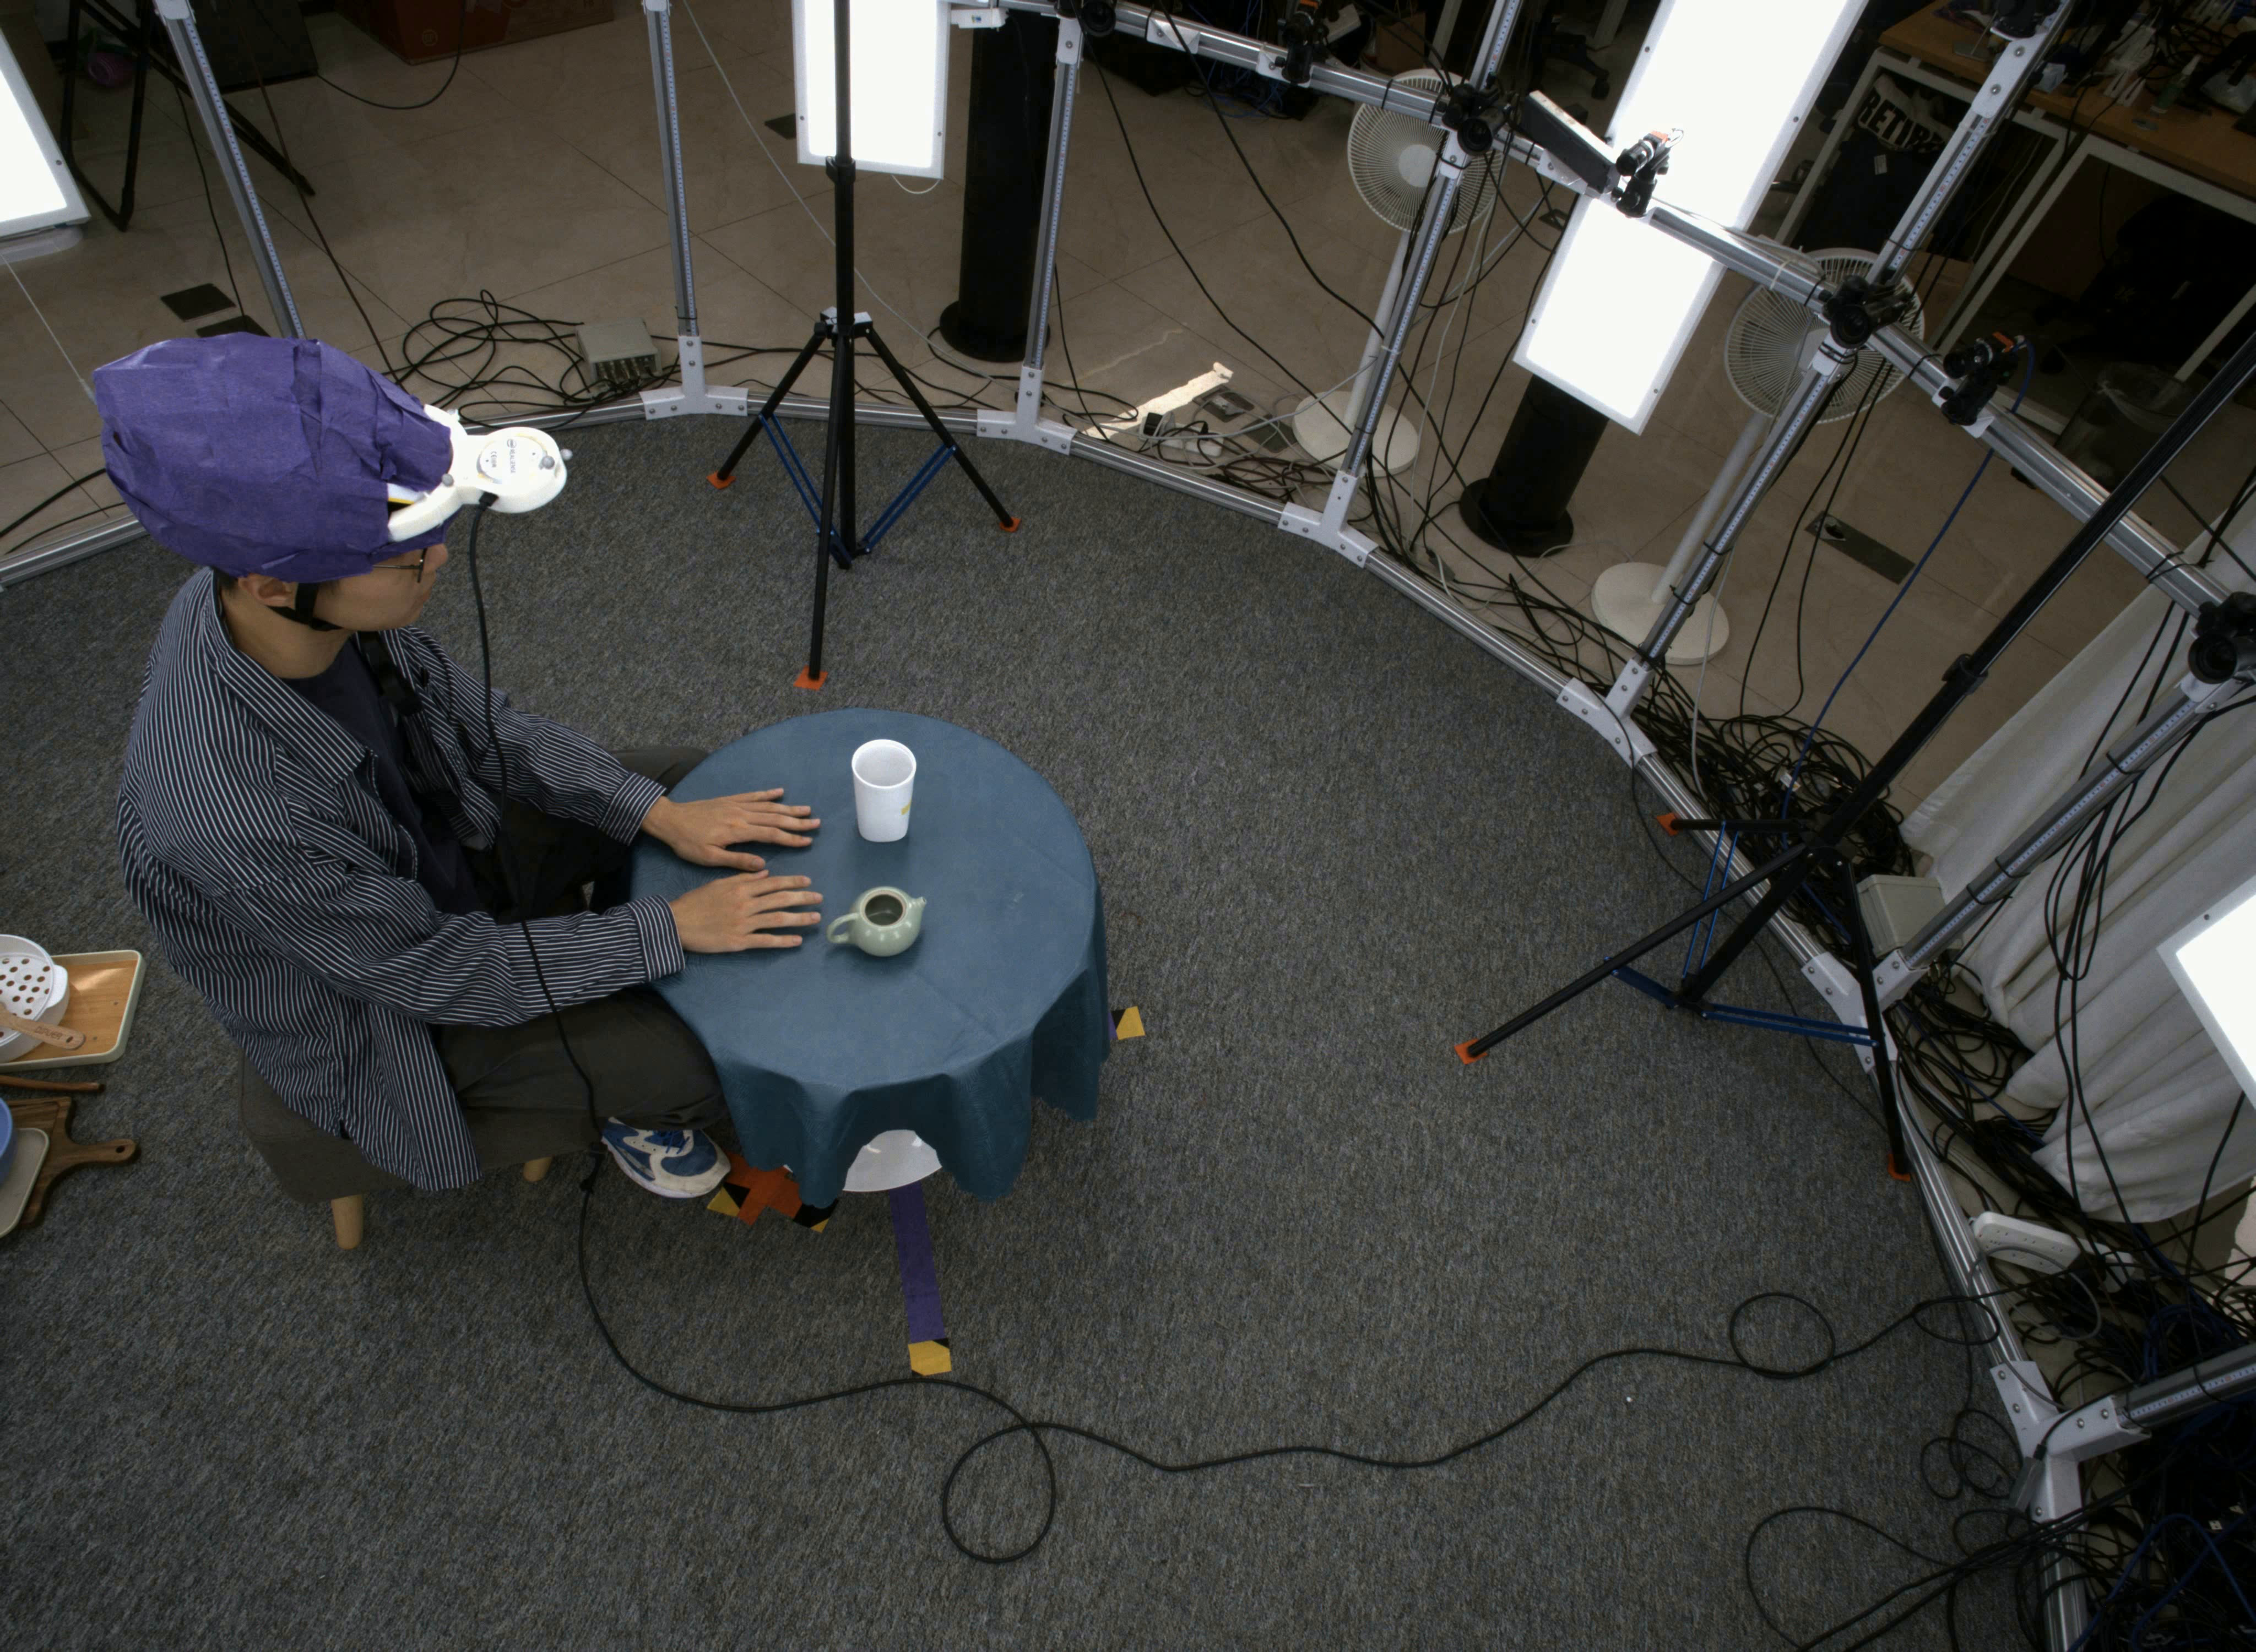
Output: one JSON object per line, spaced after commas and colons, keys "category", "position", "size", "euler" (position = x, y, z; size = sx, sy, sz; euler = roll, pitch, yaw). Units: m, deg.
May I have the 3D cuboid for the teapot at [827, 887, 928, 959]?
{"category": "teapot", "position": [-0.316, 0.122, 1.639], "size": [0.129, 0.062, 0.089], "euler": [-9, 58, -18]}

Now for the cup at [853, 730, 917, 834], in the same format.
{"category": "cup", "position": [-0.322, -0.055, 1.722], "size": [0.081, 0.128, 0.080], "euler": [6, 52, -7]}
